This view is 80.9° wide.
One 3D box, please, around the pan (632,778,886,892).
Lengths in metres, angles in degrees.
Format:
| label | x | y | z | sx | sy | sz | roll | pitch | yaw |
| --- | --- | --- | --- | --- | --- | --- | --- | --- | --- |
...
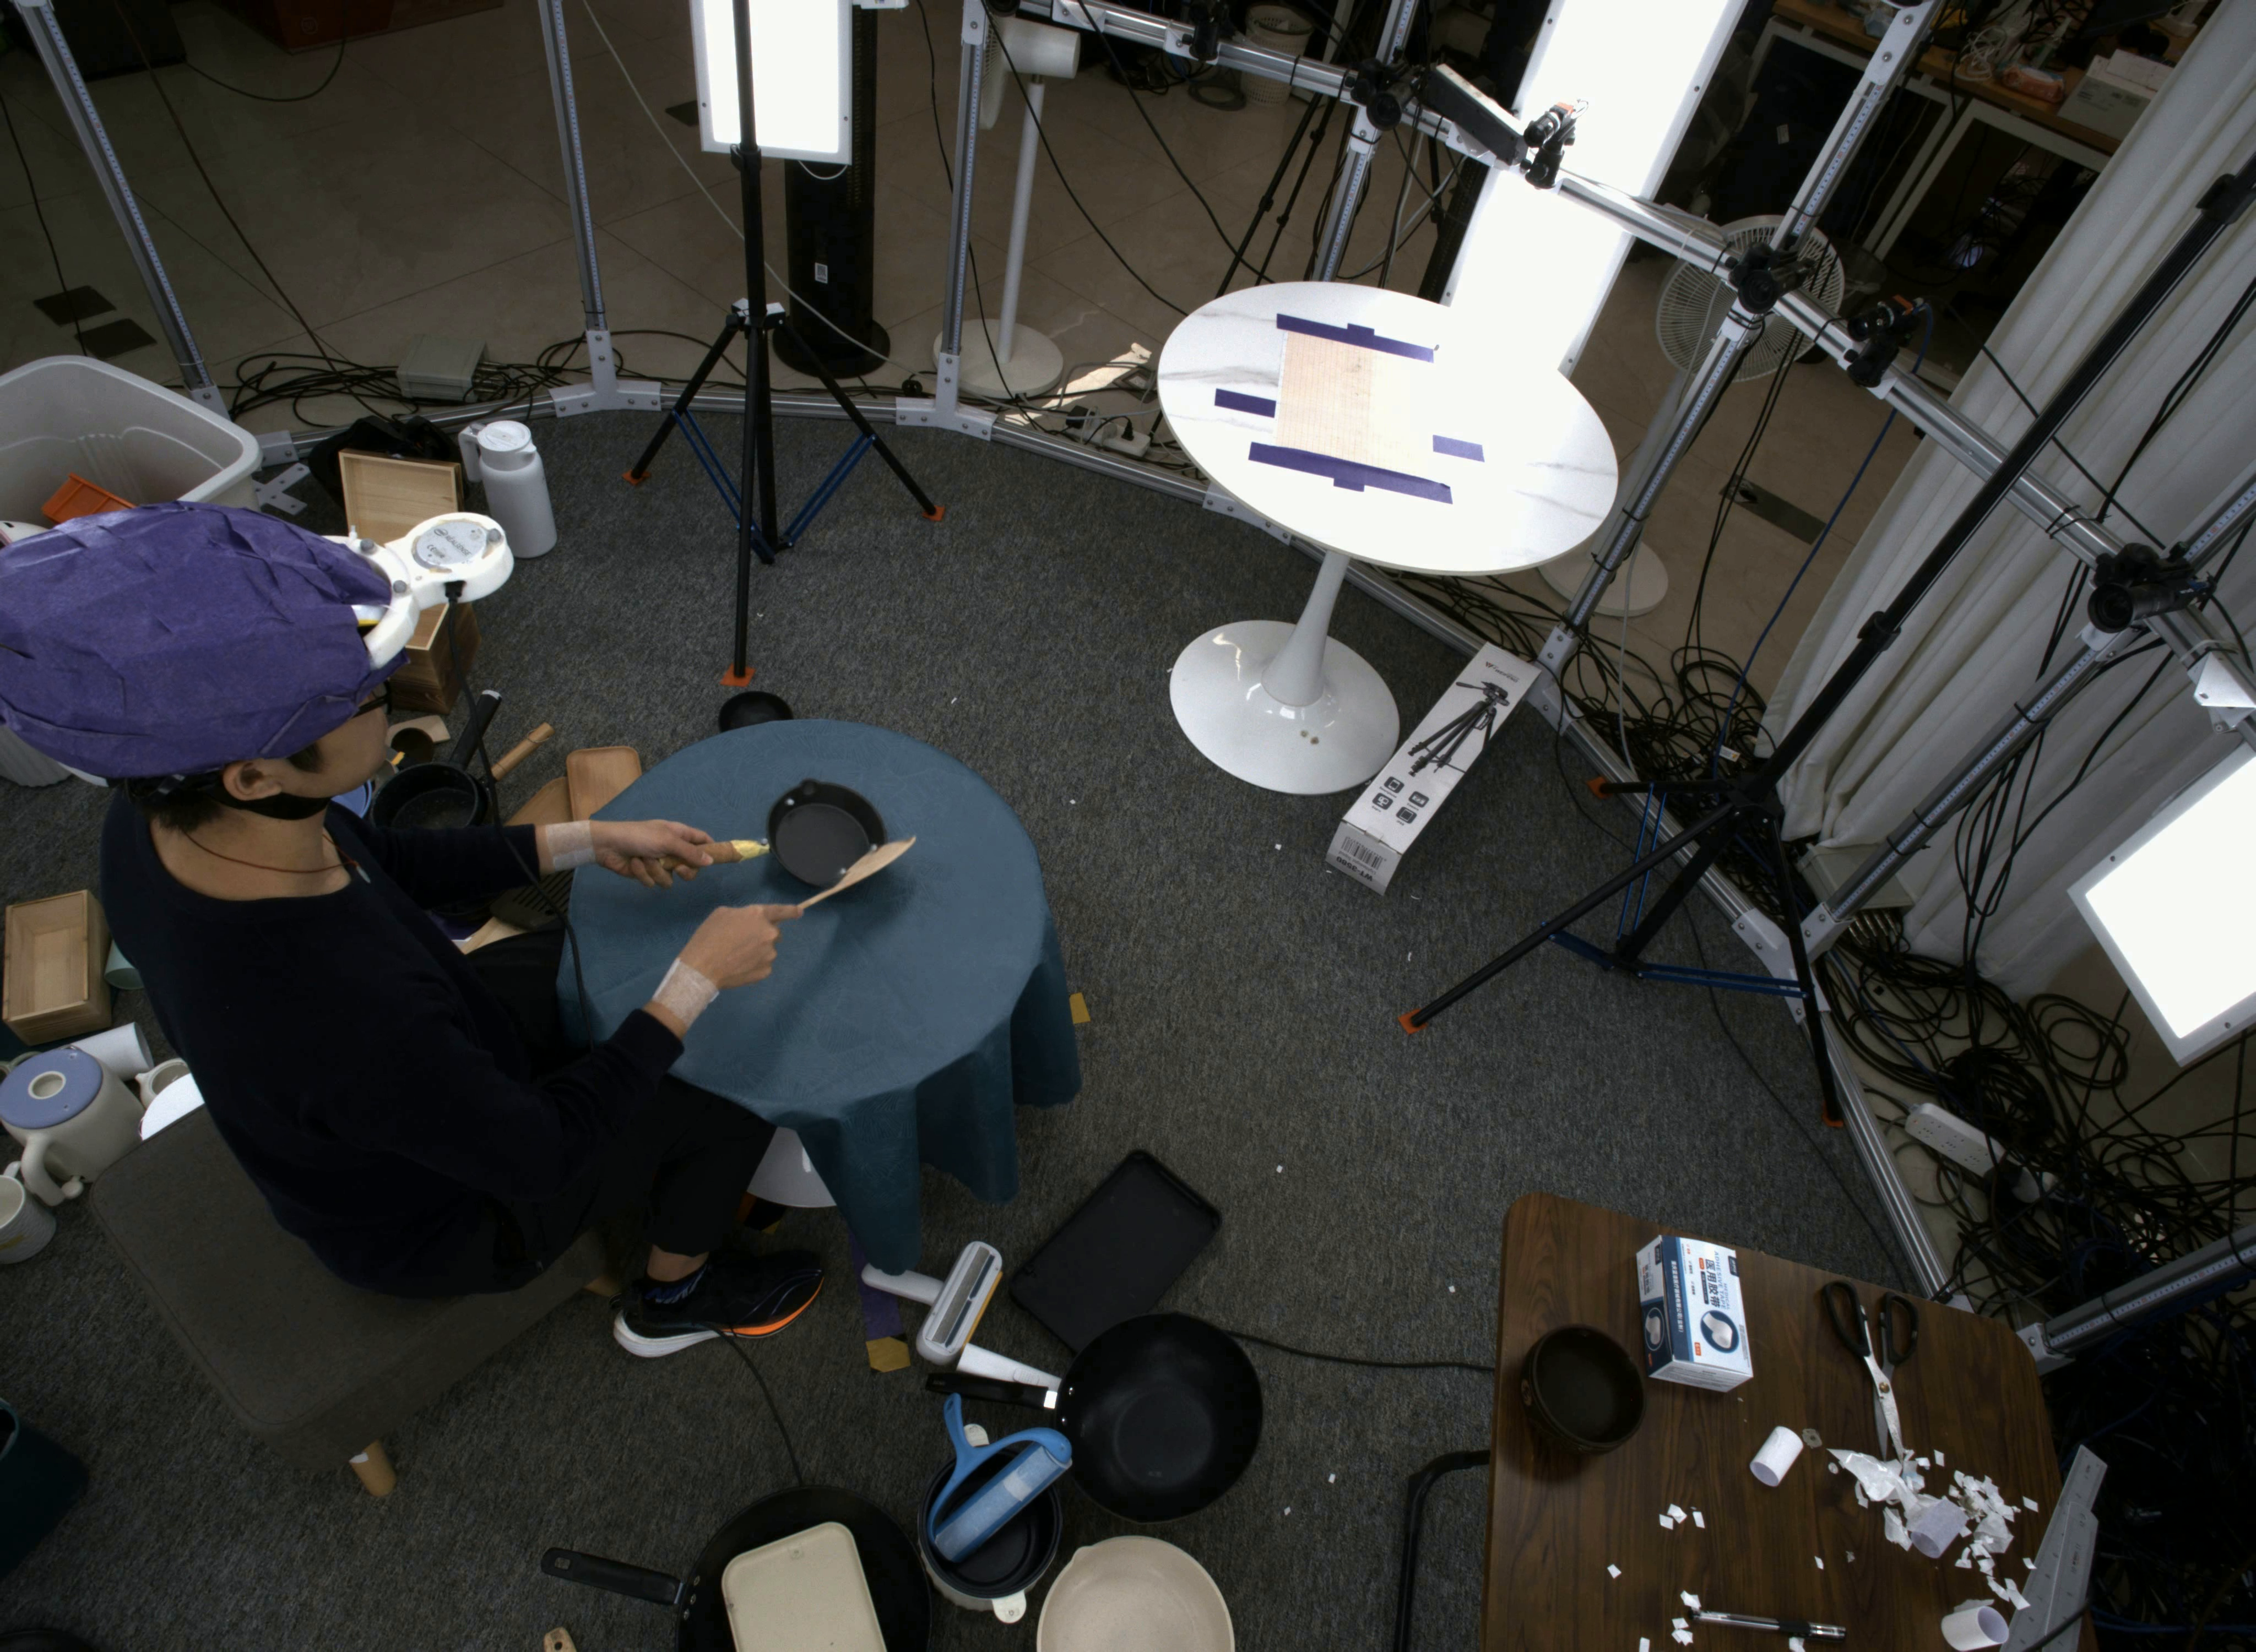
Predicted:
| label | x | y | z | sx | sy | sz | roll | pitch | yaw |
| --- | --- | --- | --- | --- | --- | --- | --- | --- | --- |
| pan | -0.460 | 0.023 | 1.618 | 0.328 | 0.050 | 0.166 | -8 | 65 | -34 |

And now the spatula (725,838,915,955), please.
| label | x | y | z | sx | sy | sz | roll | pitch | yaw |
| --- | --- | --- | --- | --- | --- | --- | --- | --- | --- |
| spatula | -0.369 | 0.080 | 1.549 | 0.328 | 0.078 | 0.017 | -37 | 111 | -58 |
